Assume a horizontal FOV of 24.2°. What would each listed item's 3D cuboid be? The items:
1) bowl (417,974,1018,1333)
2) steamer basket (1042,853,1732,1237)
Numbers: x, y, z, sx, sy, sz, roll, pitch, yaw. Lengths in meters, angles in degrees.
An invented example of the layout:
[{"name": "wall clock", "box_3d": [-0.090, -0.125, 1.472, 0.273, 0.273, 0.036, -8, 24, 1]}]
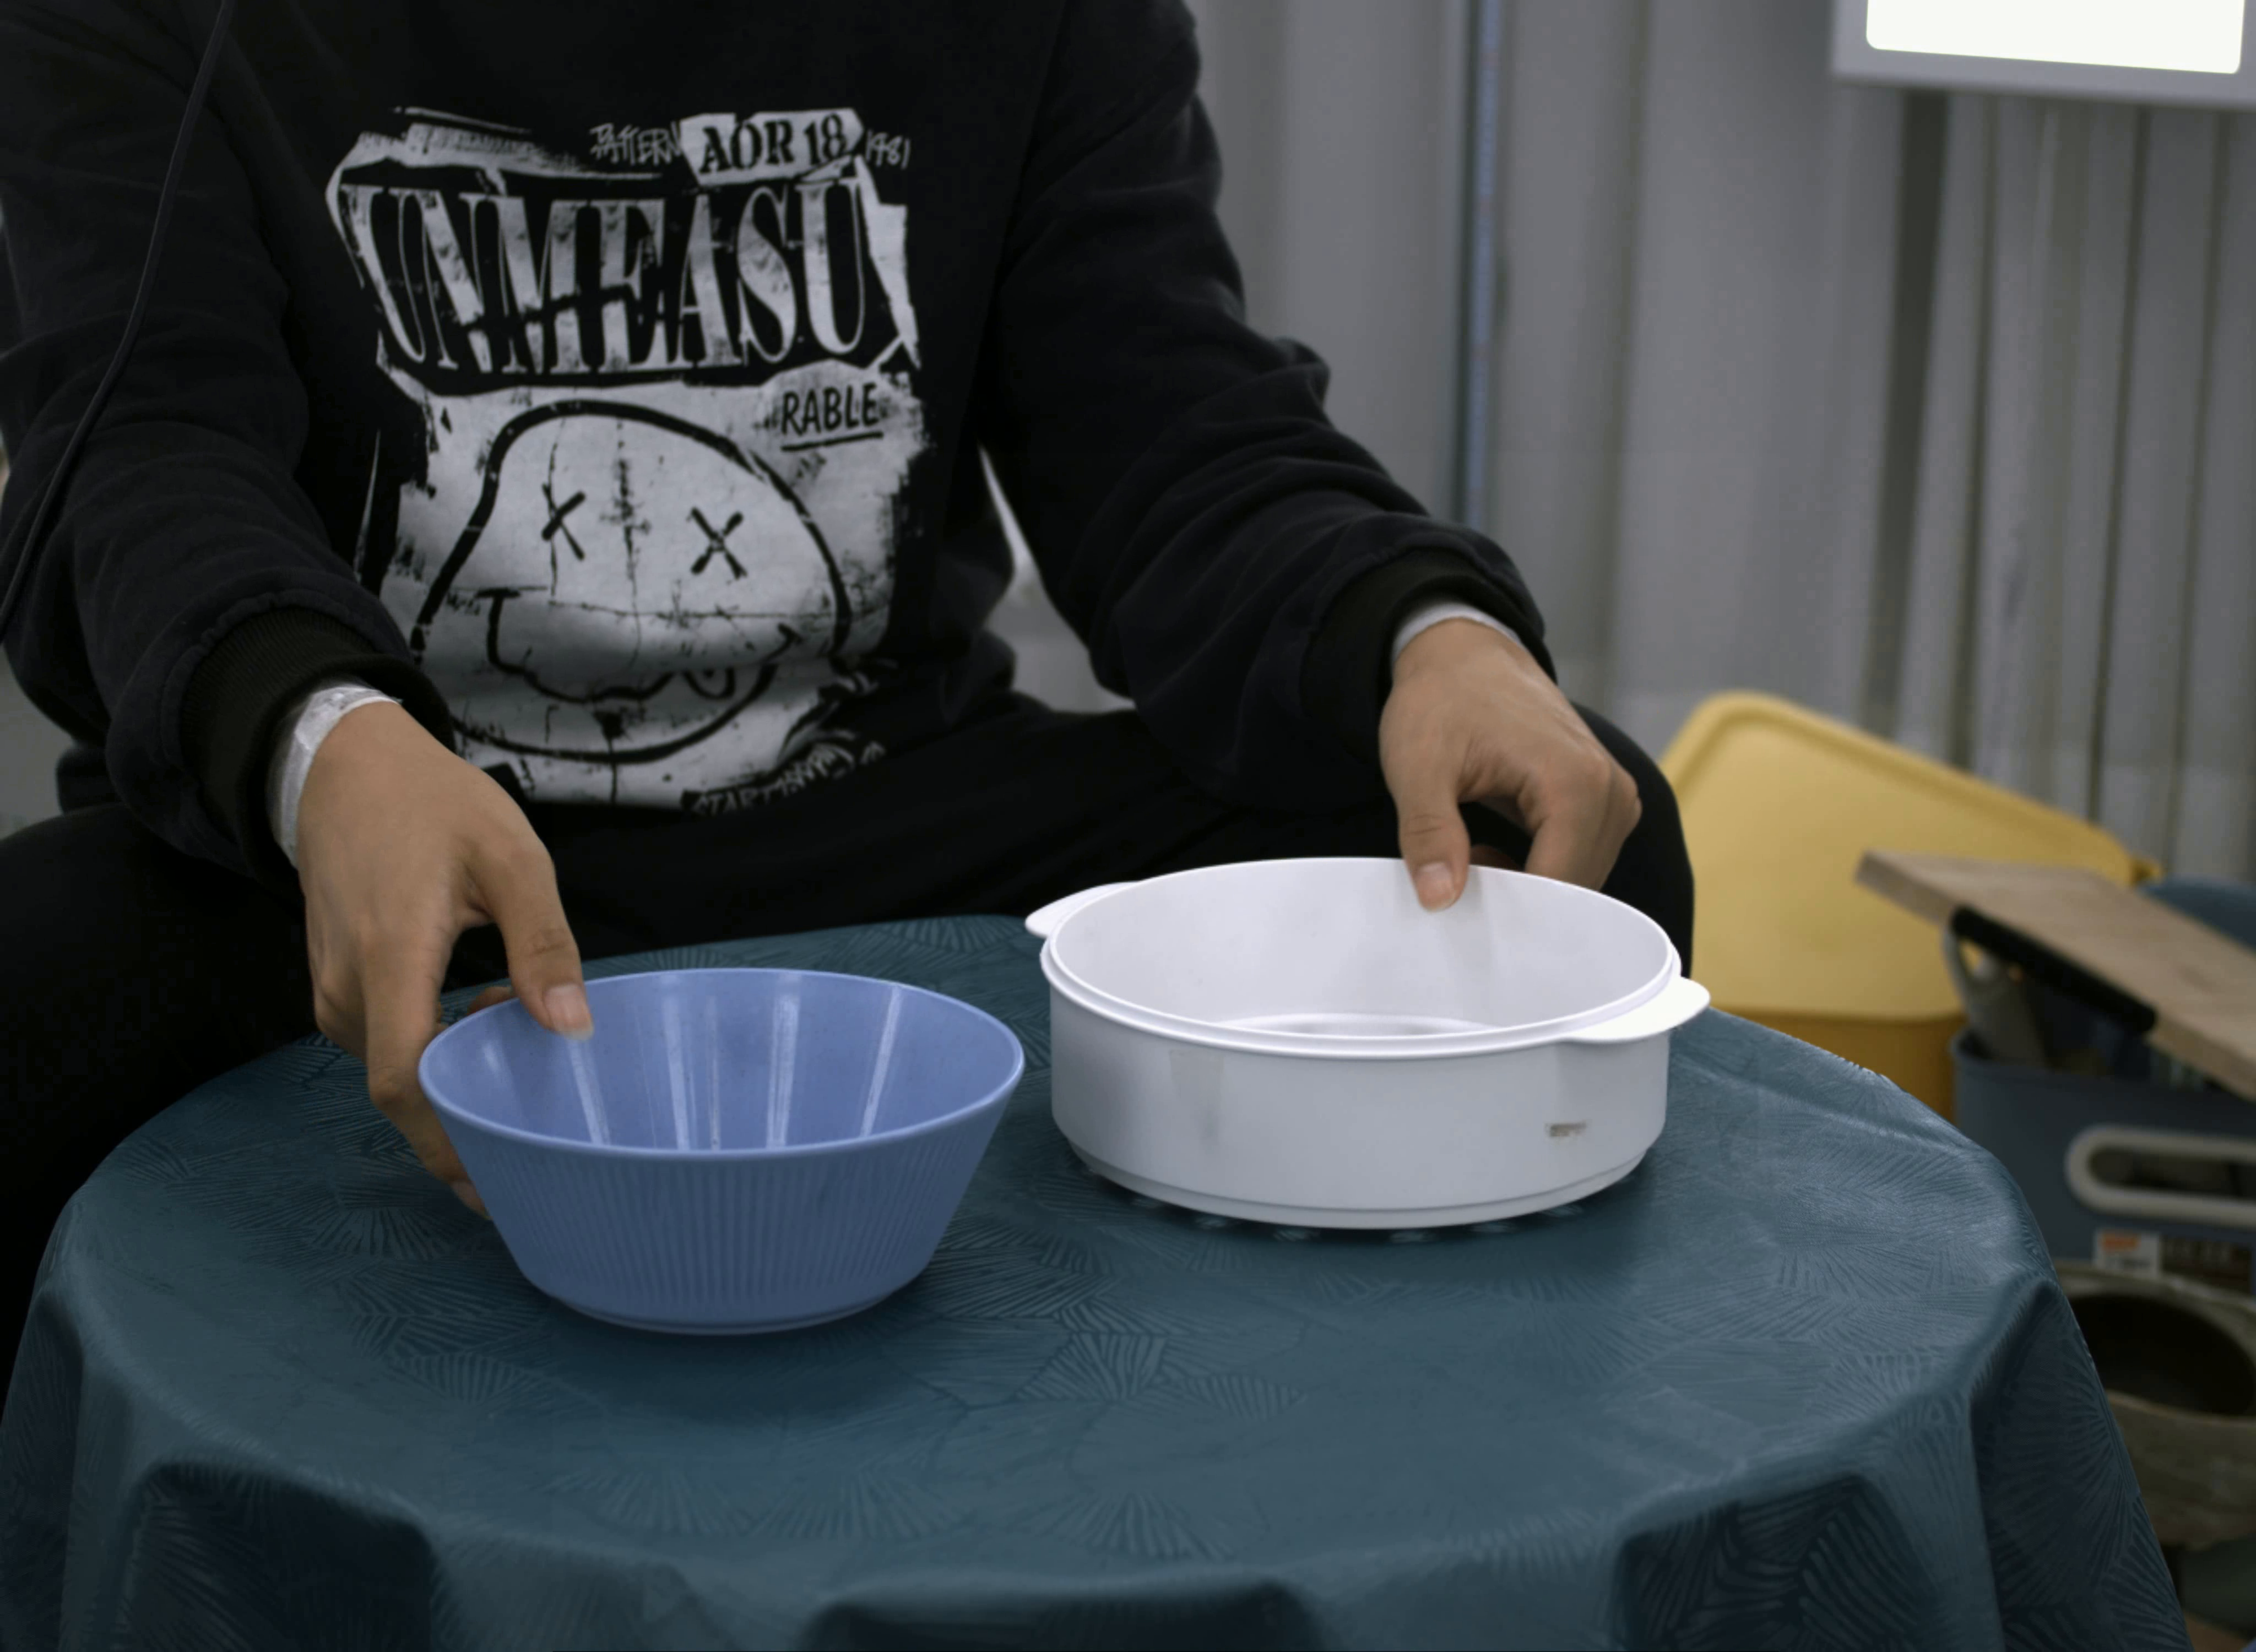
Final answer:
[{"name": "bowl", "box_3d": [-0.120, 0.098, 1.542, 0.175, 0.071, 0.175, 1, 15, 0]}, {"name": "steamer basket", "box_3d": [0.078, 0.069, 1.658, 0.228, 0.070, 0.202, 13, 20, 30]}]
